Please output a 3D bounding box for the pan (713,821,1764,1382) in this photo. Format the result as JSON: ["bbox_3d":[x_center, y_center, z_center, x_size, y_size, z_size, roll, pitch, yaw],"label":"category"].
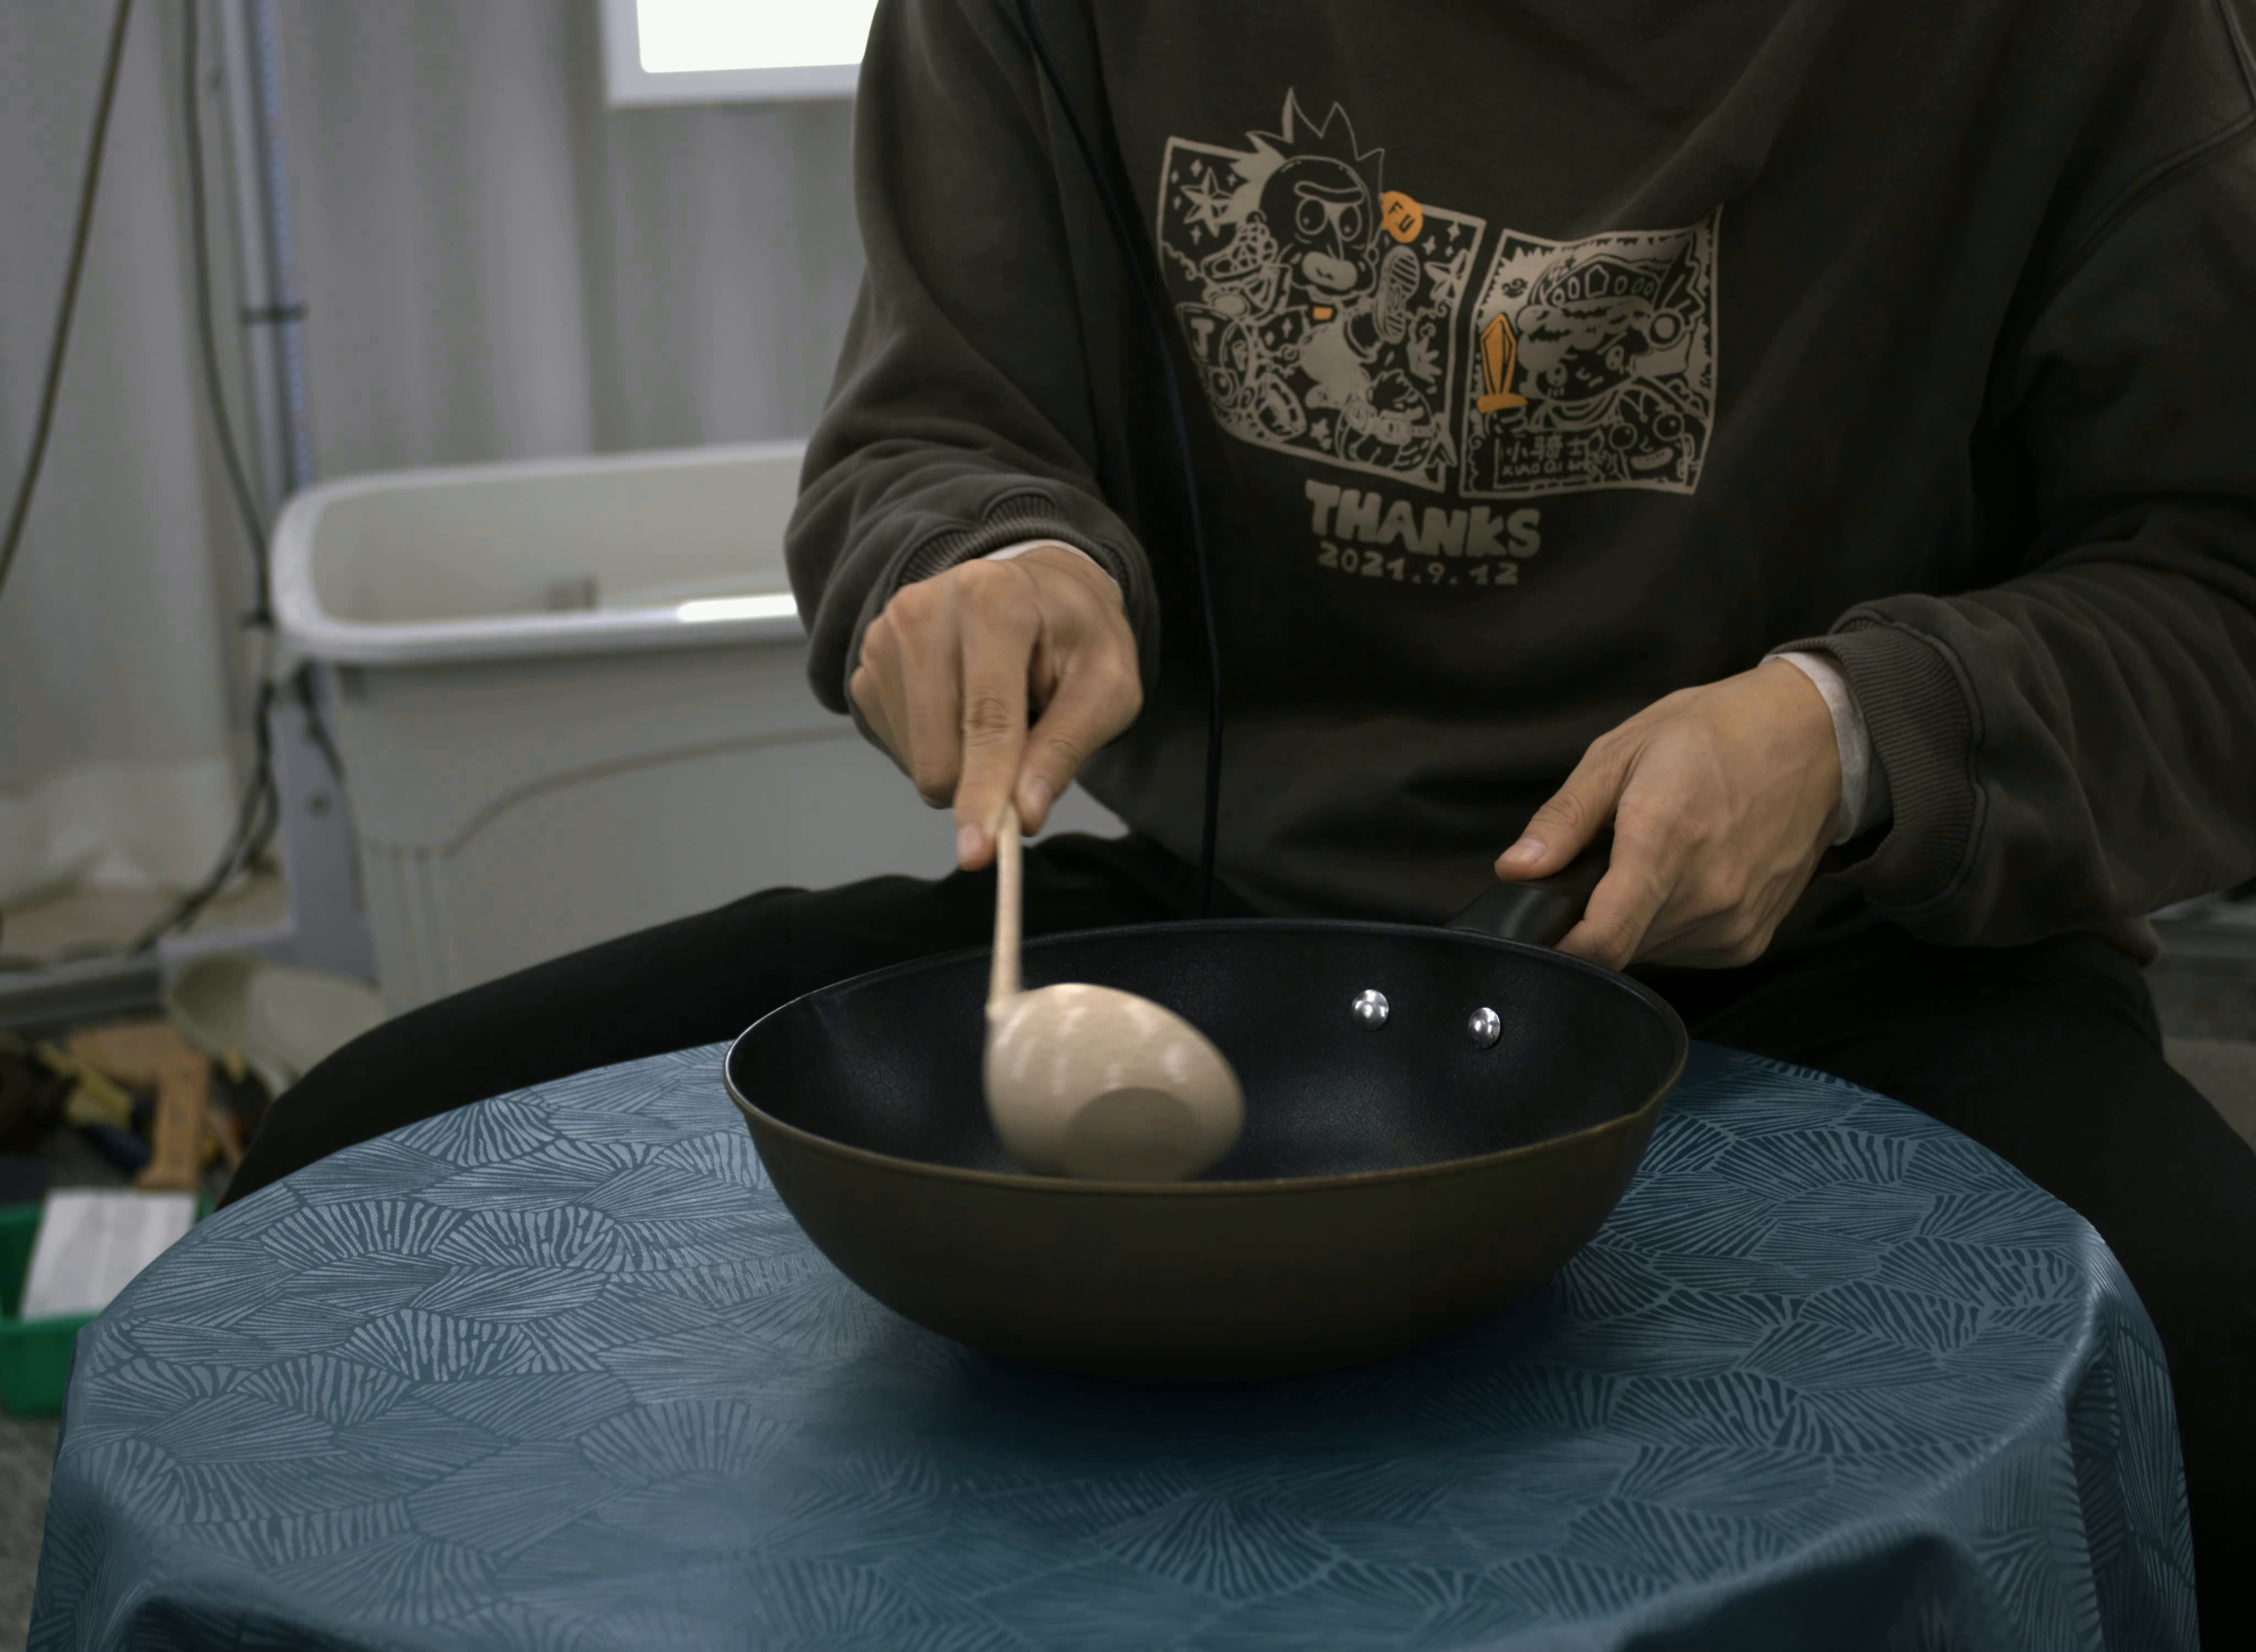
[{"bbox_3d":[0.071,0.081,1.678,0.289,0.086,0.463,7,16,33],"label":"pan"}]

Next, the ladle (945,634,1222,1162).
[{"bbox_3d":[-0.015,0.012,1.639,0.072,0.071,0.258,-16,38,9],"label":"ladle"}]
